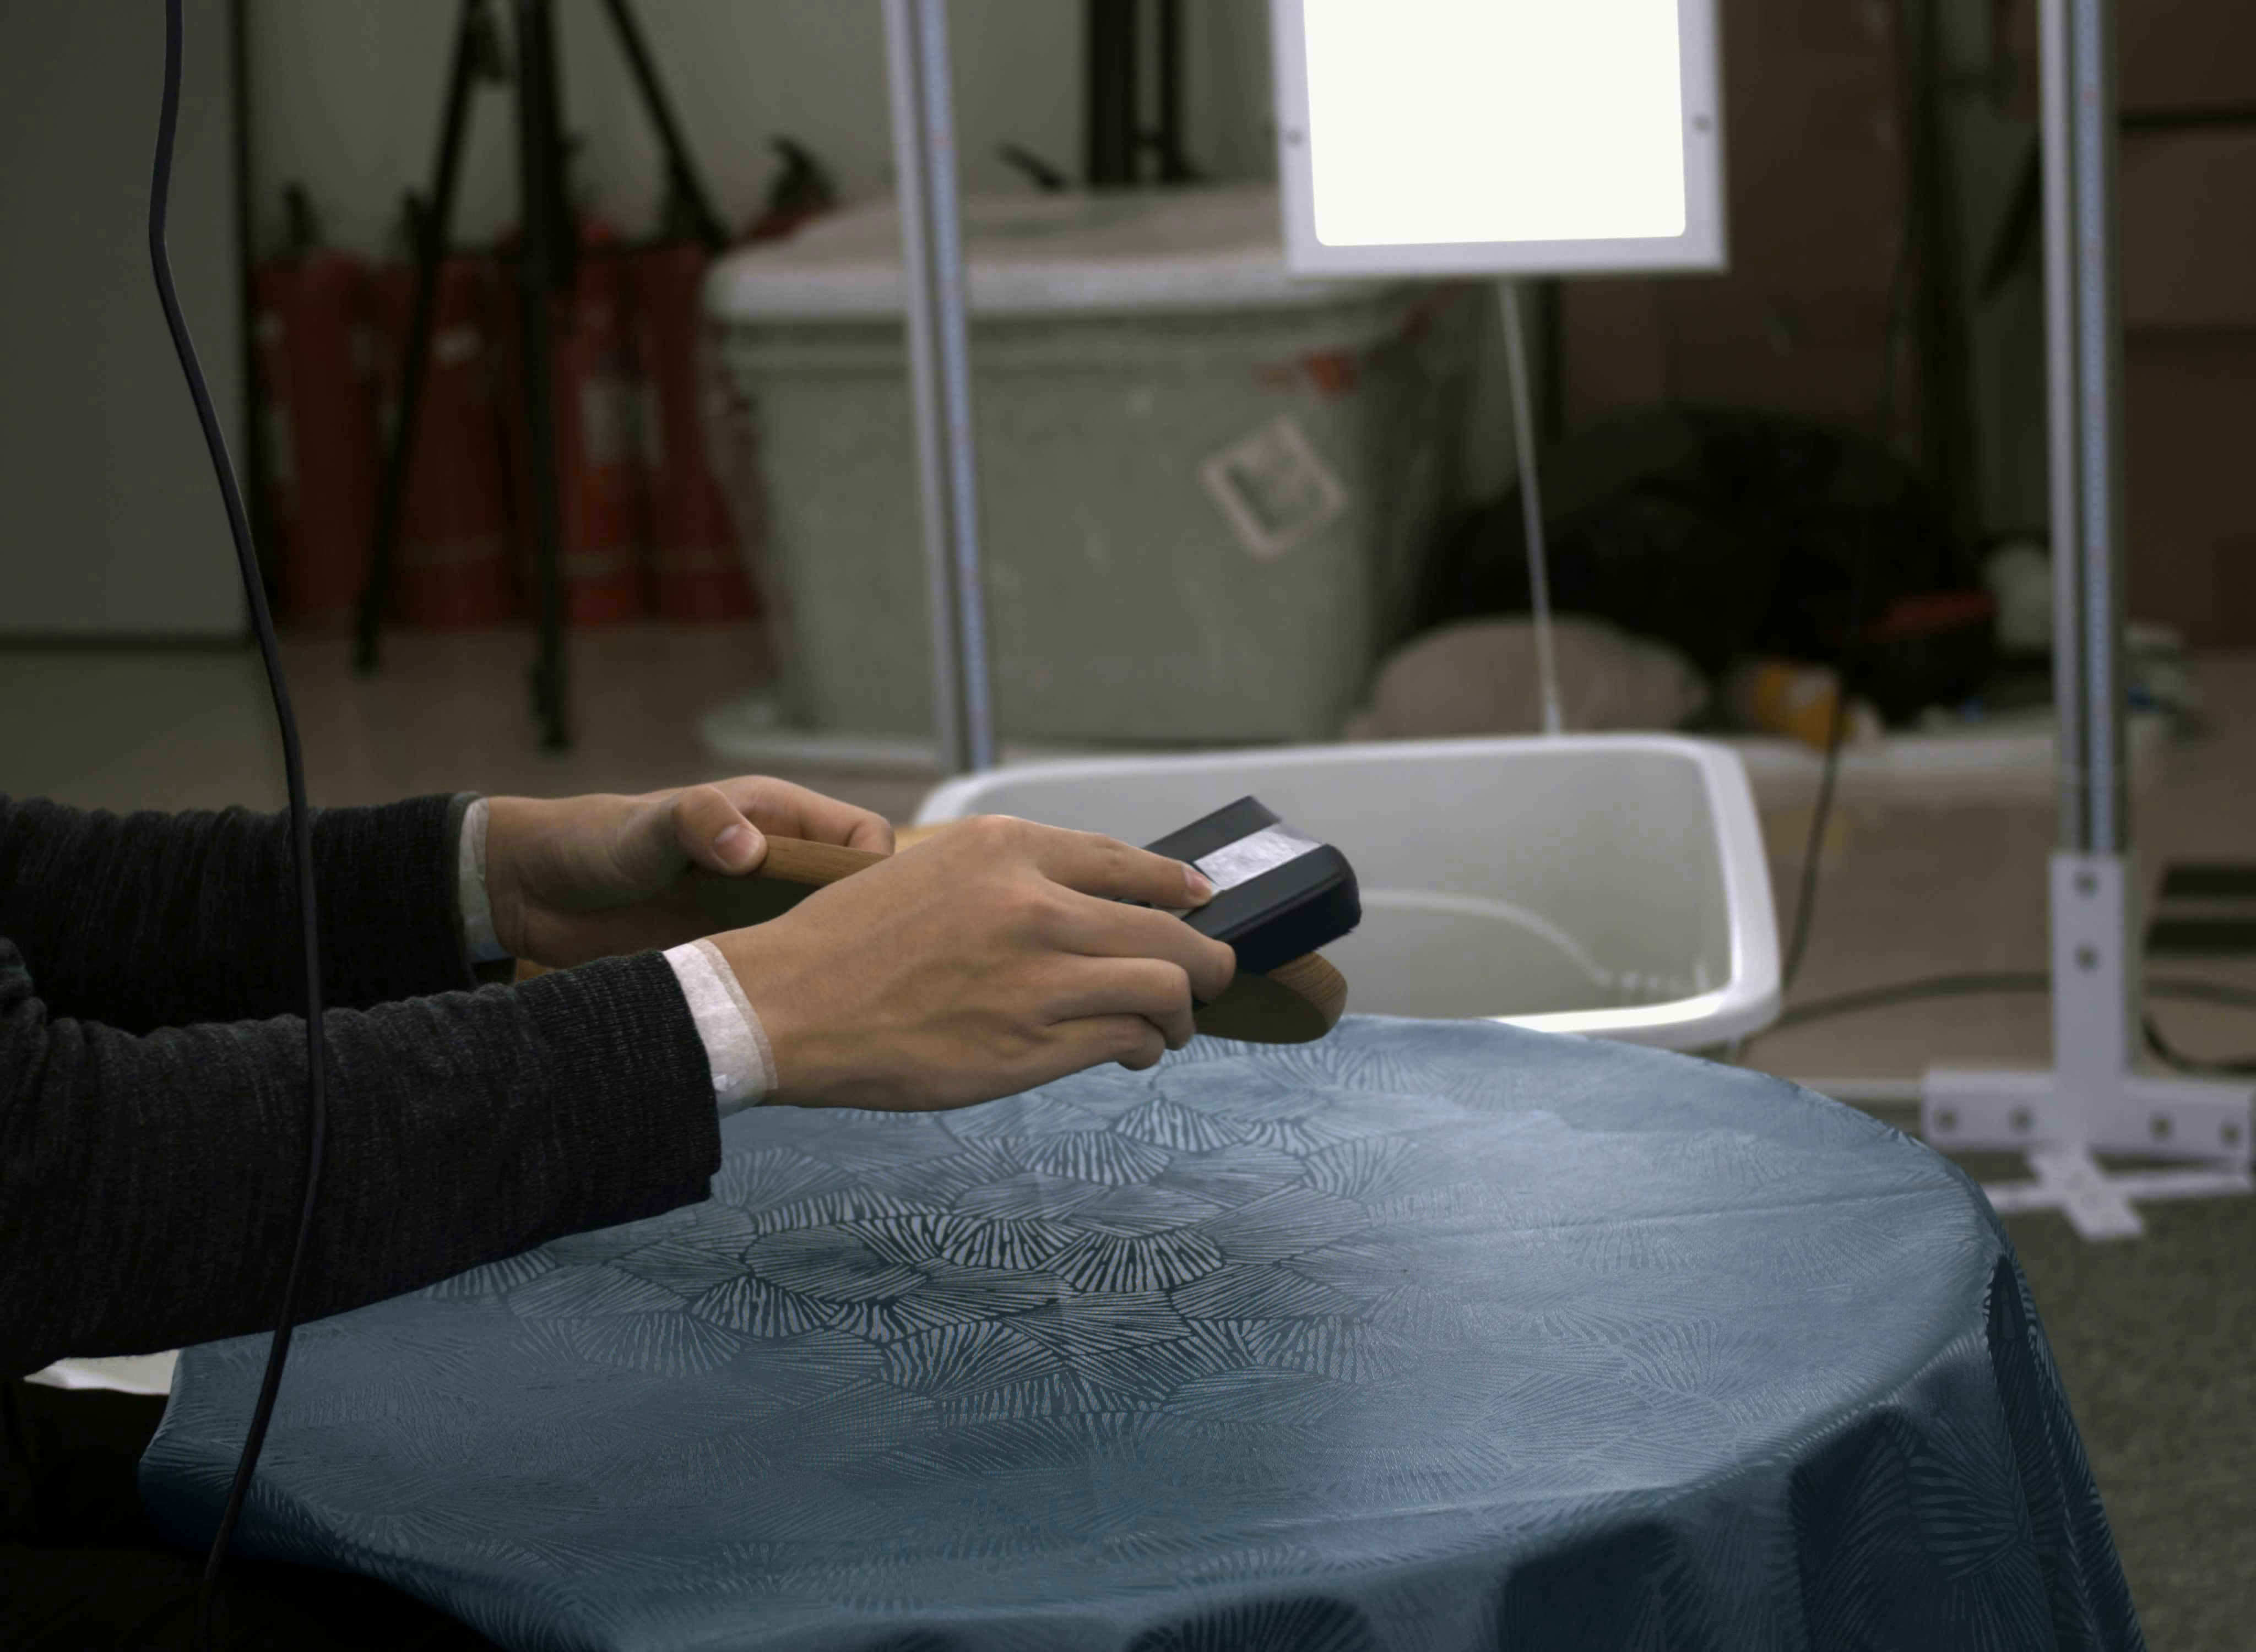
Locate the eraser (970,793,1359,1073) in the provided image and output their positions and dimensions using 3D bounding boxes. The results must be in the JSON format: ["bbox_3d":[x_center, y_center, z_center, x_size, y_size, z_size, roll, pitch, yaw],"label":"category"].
[{"bbox_3d":[0.012,0.032,1.730,0.122,0.031,0.054,-27,49,-35],"label":"eraser"}]

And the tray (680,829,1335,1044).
[{"bbox_3d":[-0.042,0.038,1.831,0.234,0.020,0.101,8,-20,21],"label":"tray"}]
